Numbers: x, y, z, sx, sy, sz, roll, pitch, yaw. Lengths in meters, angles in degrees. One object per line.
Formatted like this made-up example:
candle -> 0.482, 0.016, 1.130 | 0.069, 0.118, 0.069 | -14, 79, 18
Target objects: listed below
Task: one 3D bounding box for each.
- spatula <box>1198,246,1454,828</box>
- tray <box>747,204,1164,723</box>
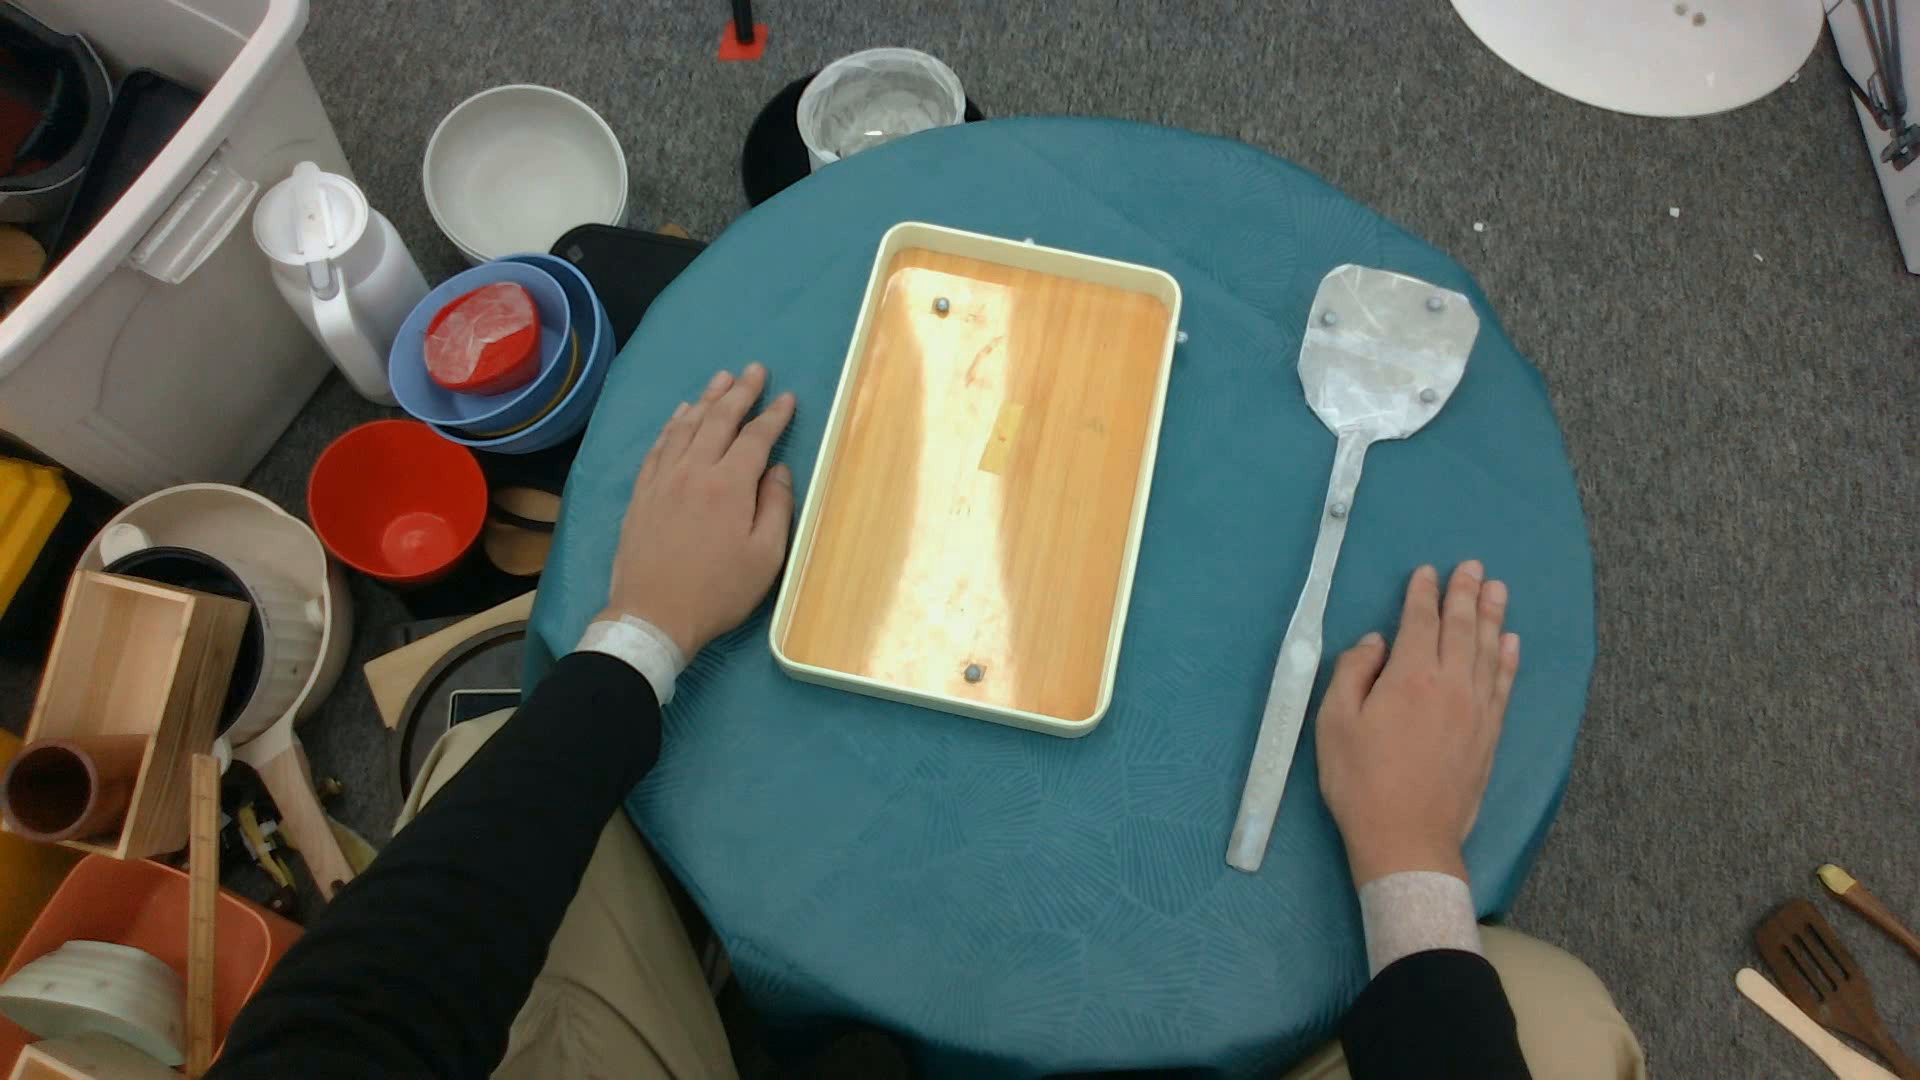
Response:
spatula -> 0.198, -0.008, 0.787 | 0.098, 0.044, 0.366 | 19, 67, 5
tray -> 0.004, -0.054, 0.804 | 0.191, 0.027, 0.301 | 12, 67, 3
